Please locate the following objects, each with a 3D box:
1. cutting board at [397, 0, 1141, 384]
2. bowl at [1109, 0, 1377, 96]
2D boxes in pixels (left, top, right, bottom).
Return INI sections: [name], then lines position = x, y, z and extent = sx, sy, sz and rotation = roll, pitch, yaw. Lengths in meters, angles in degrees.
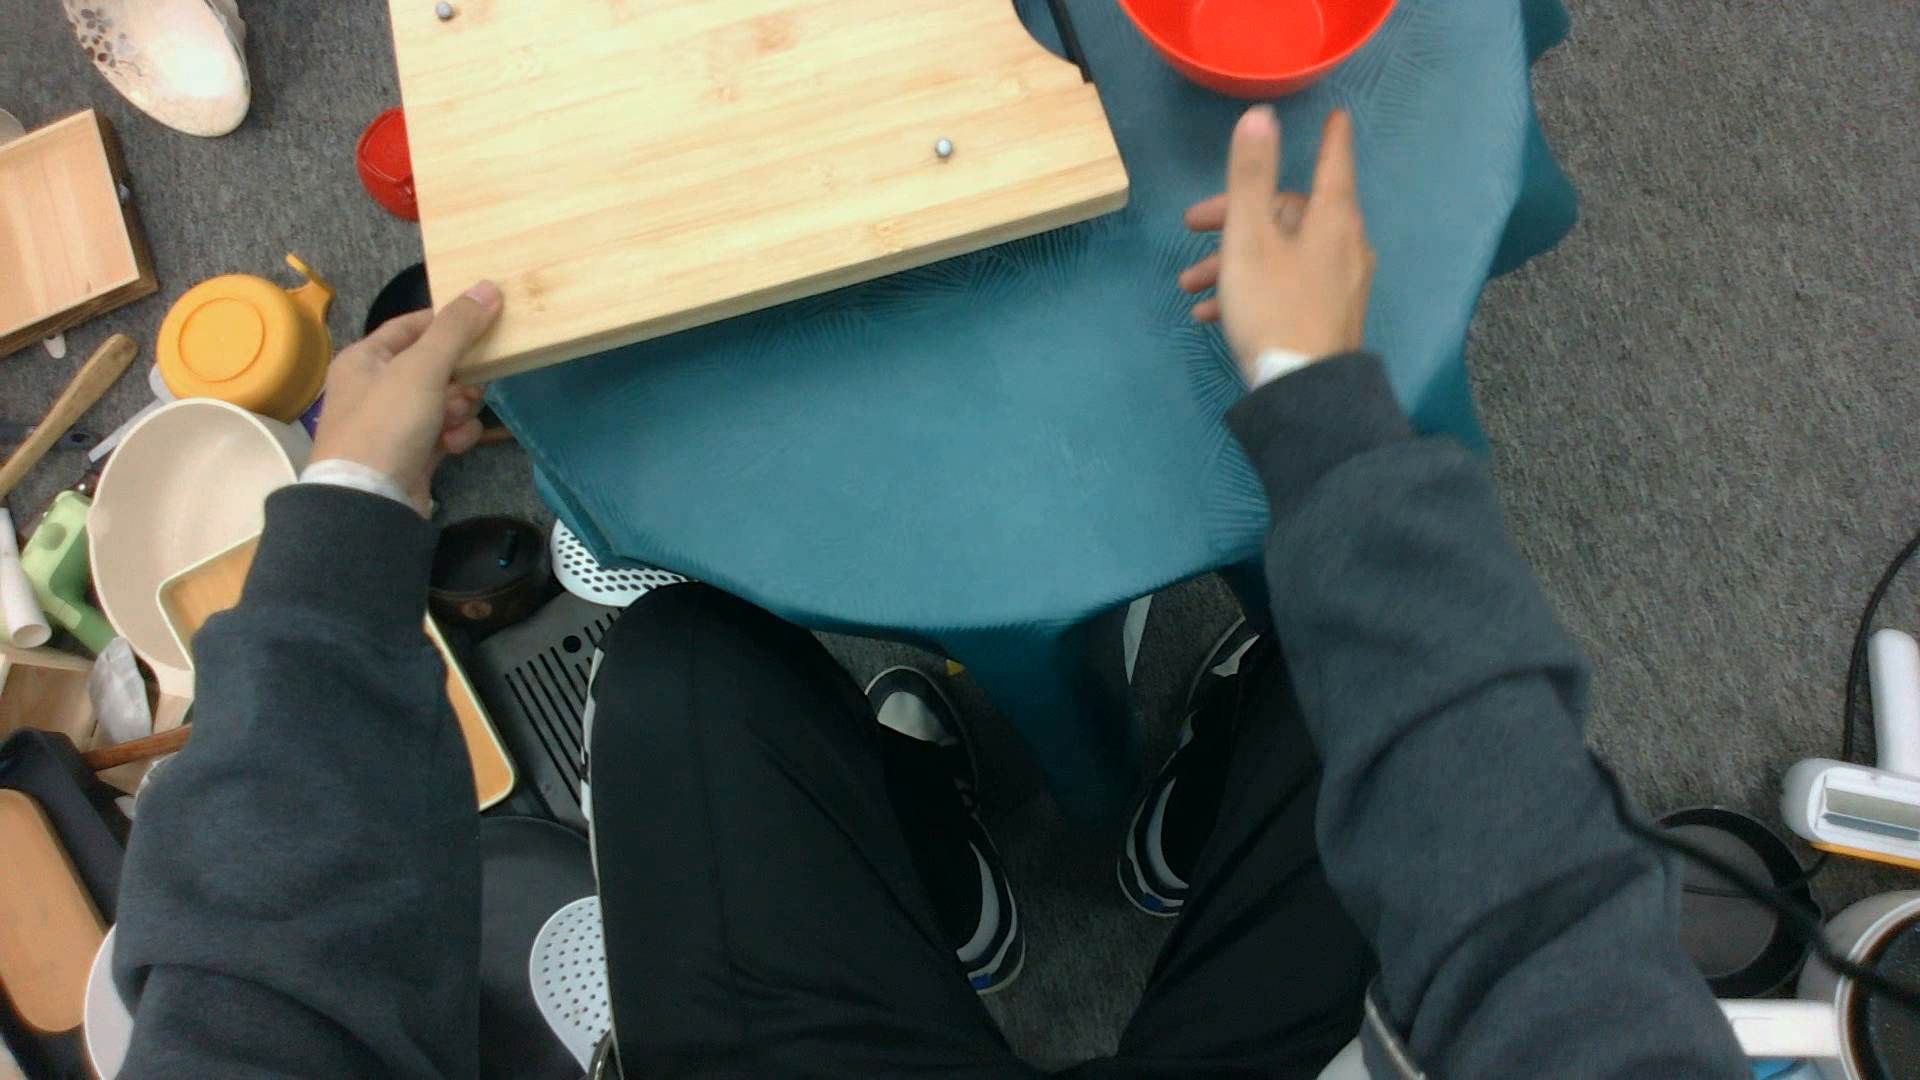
[cutting board]
position = -0.110, -0.232, 0.707
extent = 0.349, 0.023, 0.251
rotation = -17, 70, -2
[bowl]
position = 0.135, -0.283, 0.681
extent = 0.148, 0.104, 0.148
rotation = -1, 79, 5
